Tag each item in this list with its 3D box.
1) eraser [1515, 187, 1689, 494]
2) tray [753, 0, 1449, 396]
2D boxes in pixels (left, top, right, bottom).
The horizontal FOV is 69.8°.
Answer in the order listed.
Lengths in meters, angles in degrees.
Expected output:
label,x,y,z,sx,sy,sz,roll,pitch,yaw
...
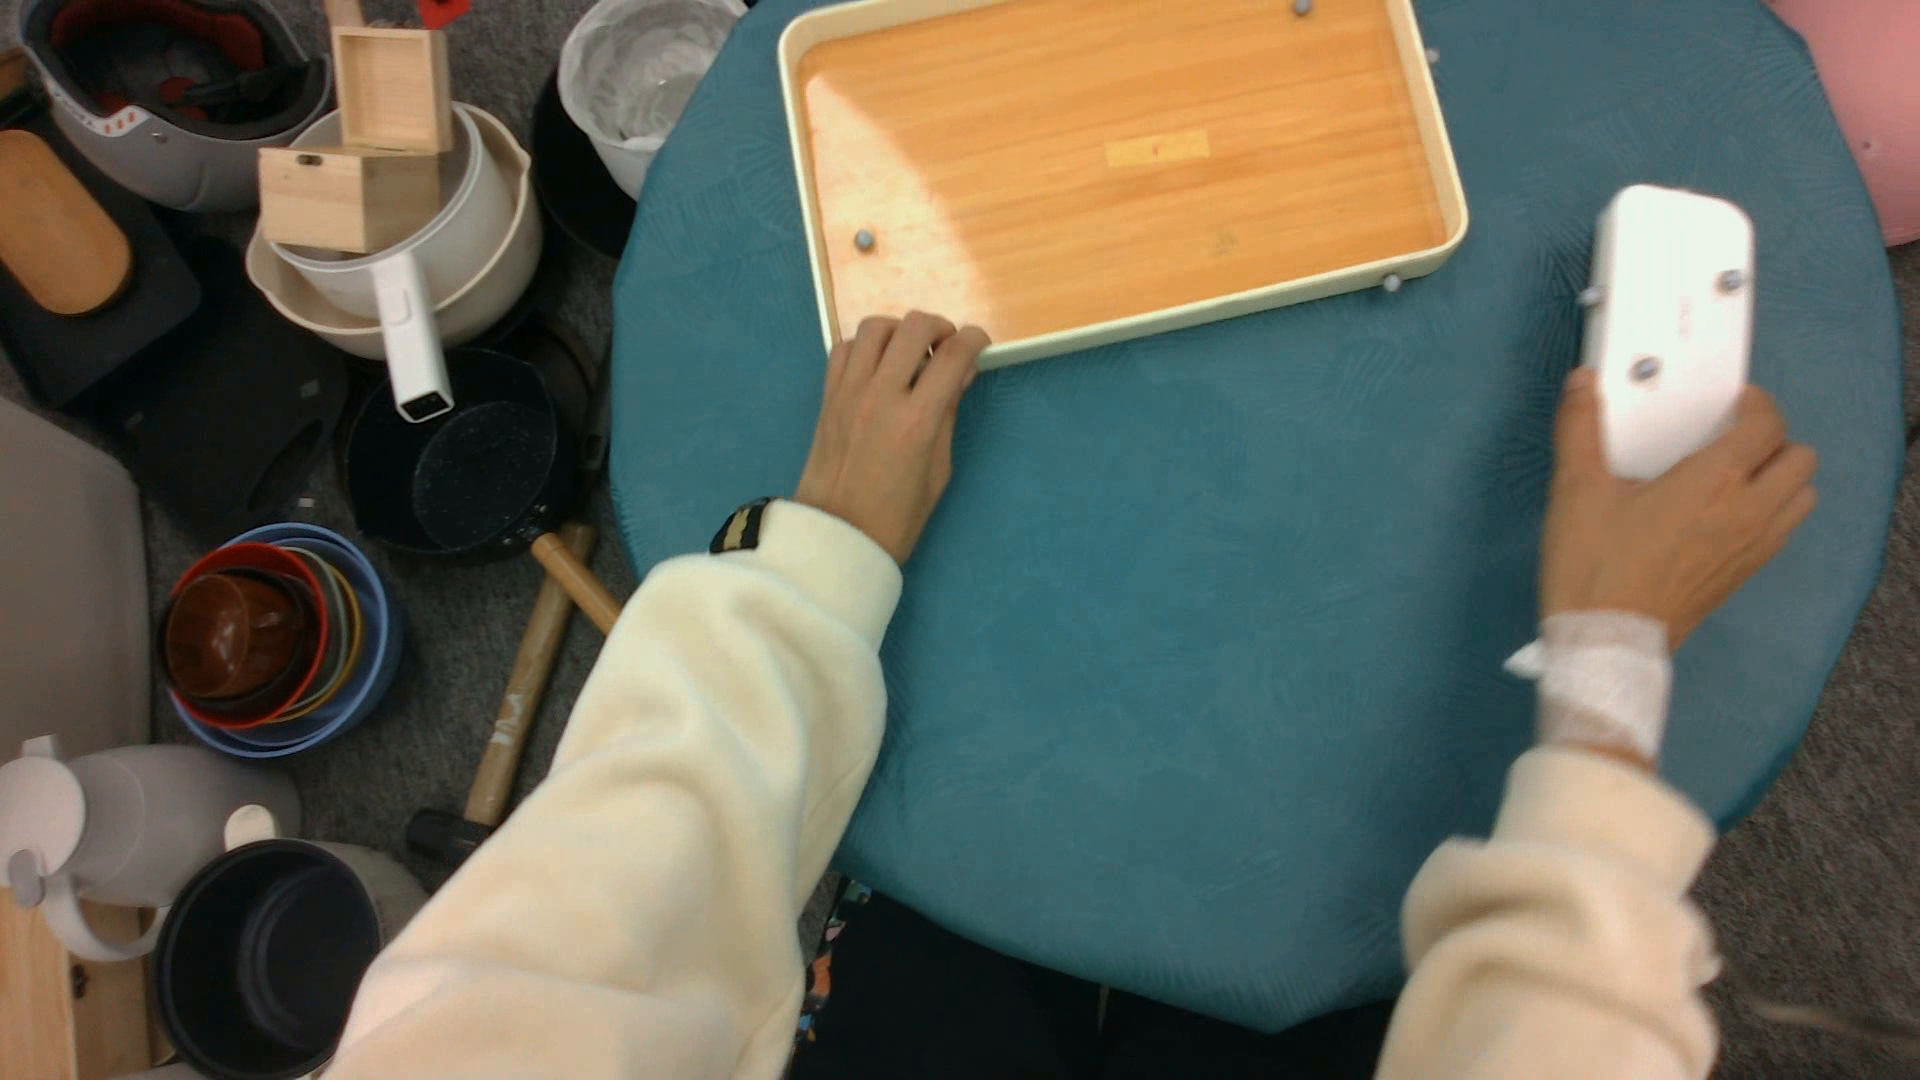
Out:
label,x,y,z,sx,sy,sz,roll,pitch,yaw
eraser,0.273,-0.085,0.588,0.063,0.034,0.131,9,79,-3
tray,0.062,-0.190,0.662,0.300,0.027,0.192,-13,76,1
